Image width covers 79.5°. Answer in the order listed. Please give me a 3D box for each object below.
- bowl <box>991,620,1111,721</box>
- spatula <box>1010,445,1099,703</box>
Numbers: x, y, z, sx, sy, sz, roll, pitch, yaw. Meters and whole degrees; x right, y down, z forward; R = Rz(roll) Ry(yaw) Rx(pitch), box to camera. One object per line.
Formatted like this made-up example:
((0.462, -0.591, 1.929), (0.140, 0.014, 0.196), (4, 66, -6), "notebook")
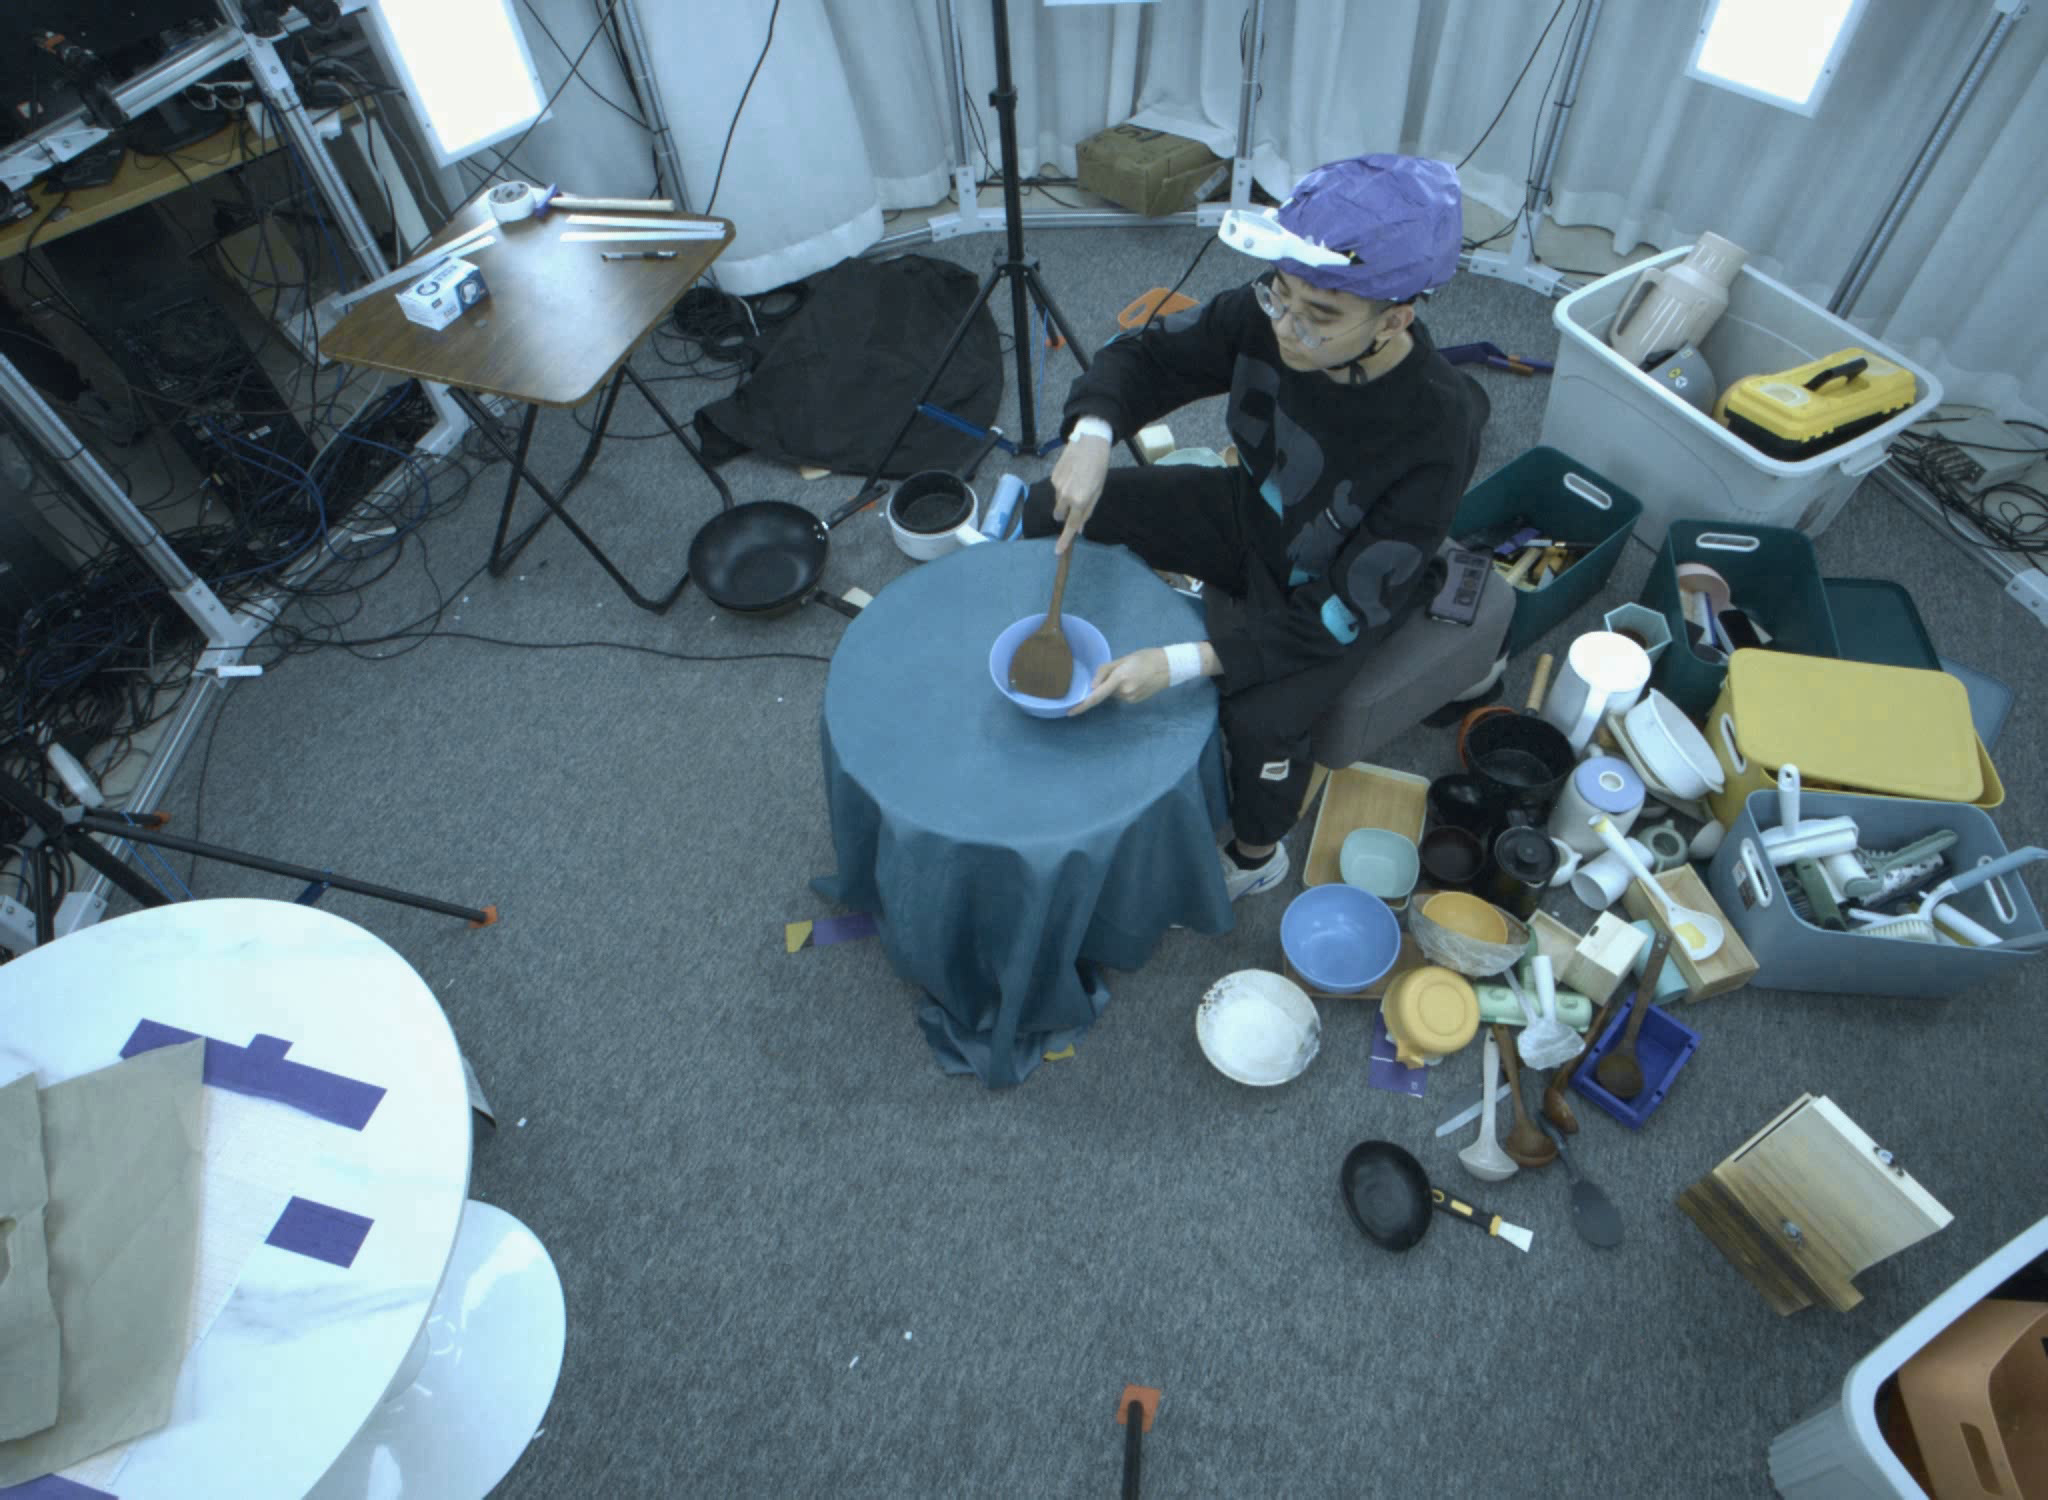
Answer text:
((0.041, -0.108, 1.815), (0.176, 0.071, 0.174), (-1, 54, 3), "bowl")
((0.059, -0.260, 1.802), (0.095, 0.016, 0.386), (13, 98, 13), "spatula")
